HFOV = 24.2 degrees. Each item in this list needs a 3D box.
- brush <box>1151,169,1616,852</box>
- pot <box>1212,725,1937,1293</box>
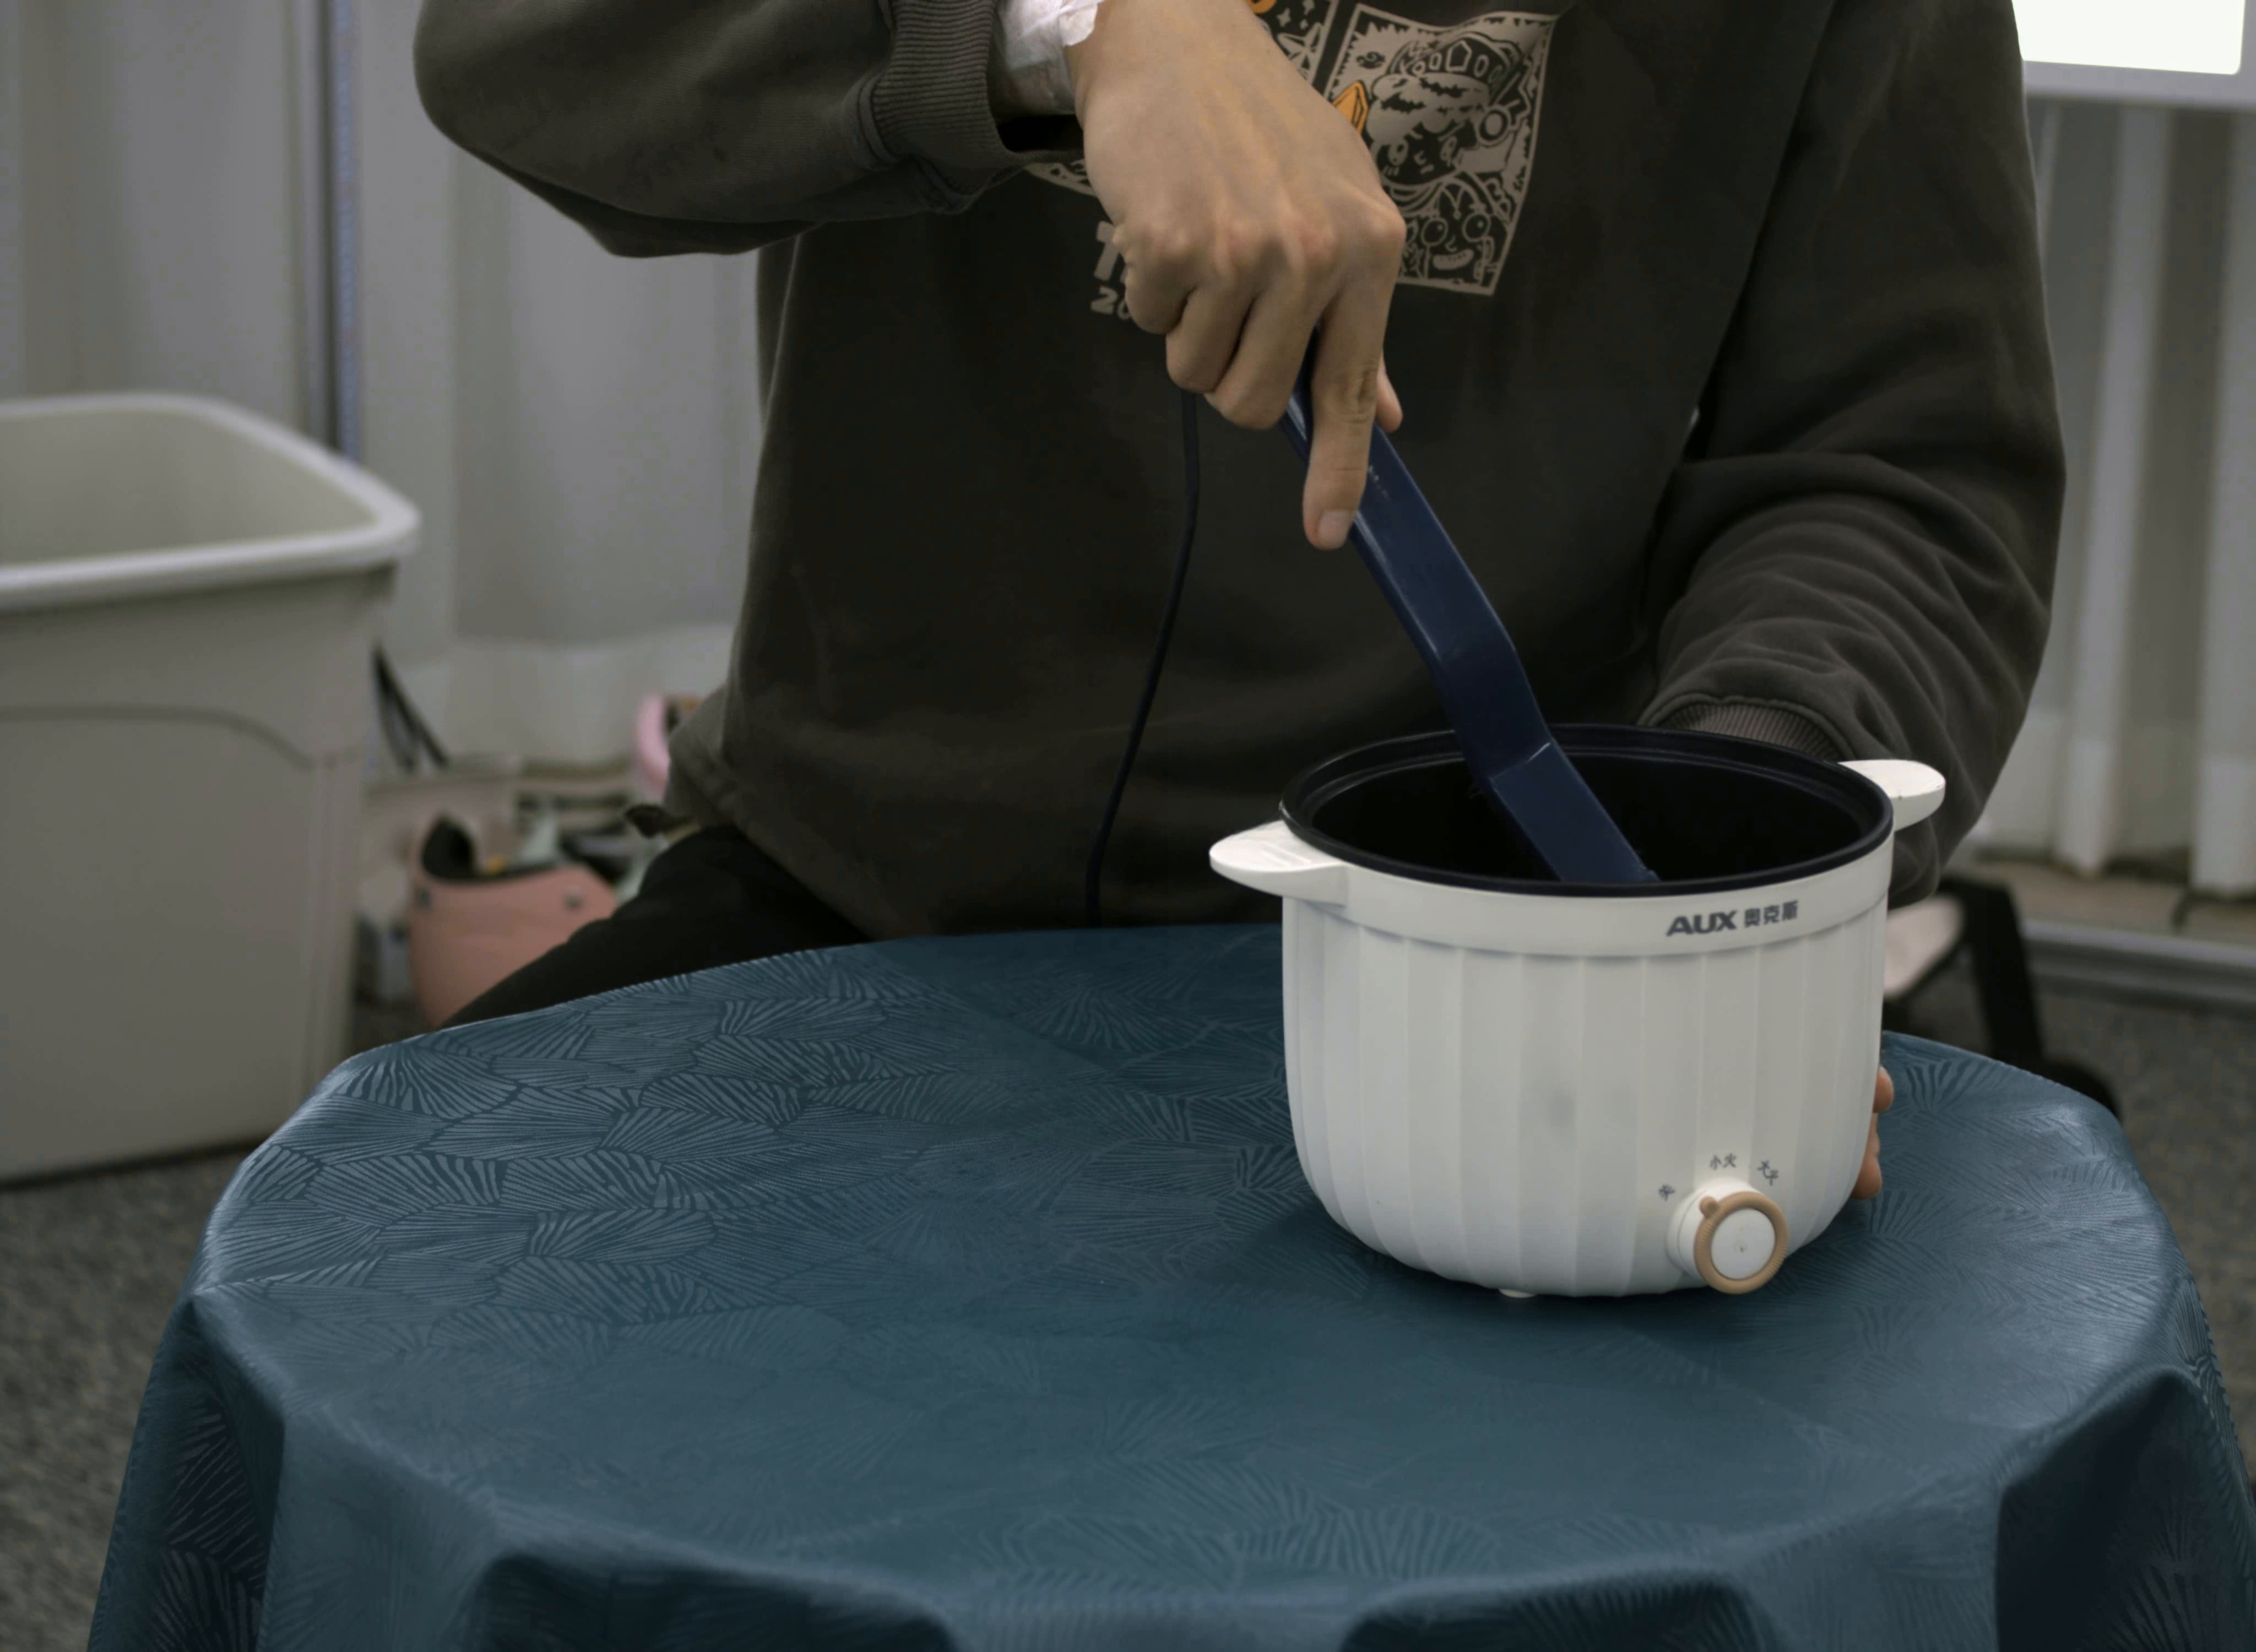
[{"bbox_3d":[0.092,-0.069,1.568,0.033,0.275,0.095,-32,16,-10],"label":"brush"},{"bbox_3d":[0.139,0.057,1.573,0.241,0.144,0.188,-8,14,-23],"label":"pot"}]
